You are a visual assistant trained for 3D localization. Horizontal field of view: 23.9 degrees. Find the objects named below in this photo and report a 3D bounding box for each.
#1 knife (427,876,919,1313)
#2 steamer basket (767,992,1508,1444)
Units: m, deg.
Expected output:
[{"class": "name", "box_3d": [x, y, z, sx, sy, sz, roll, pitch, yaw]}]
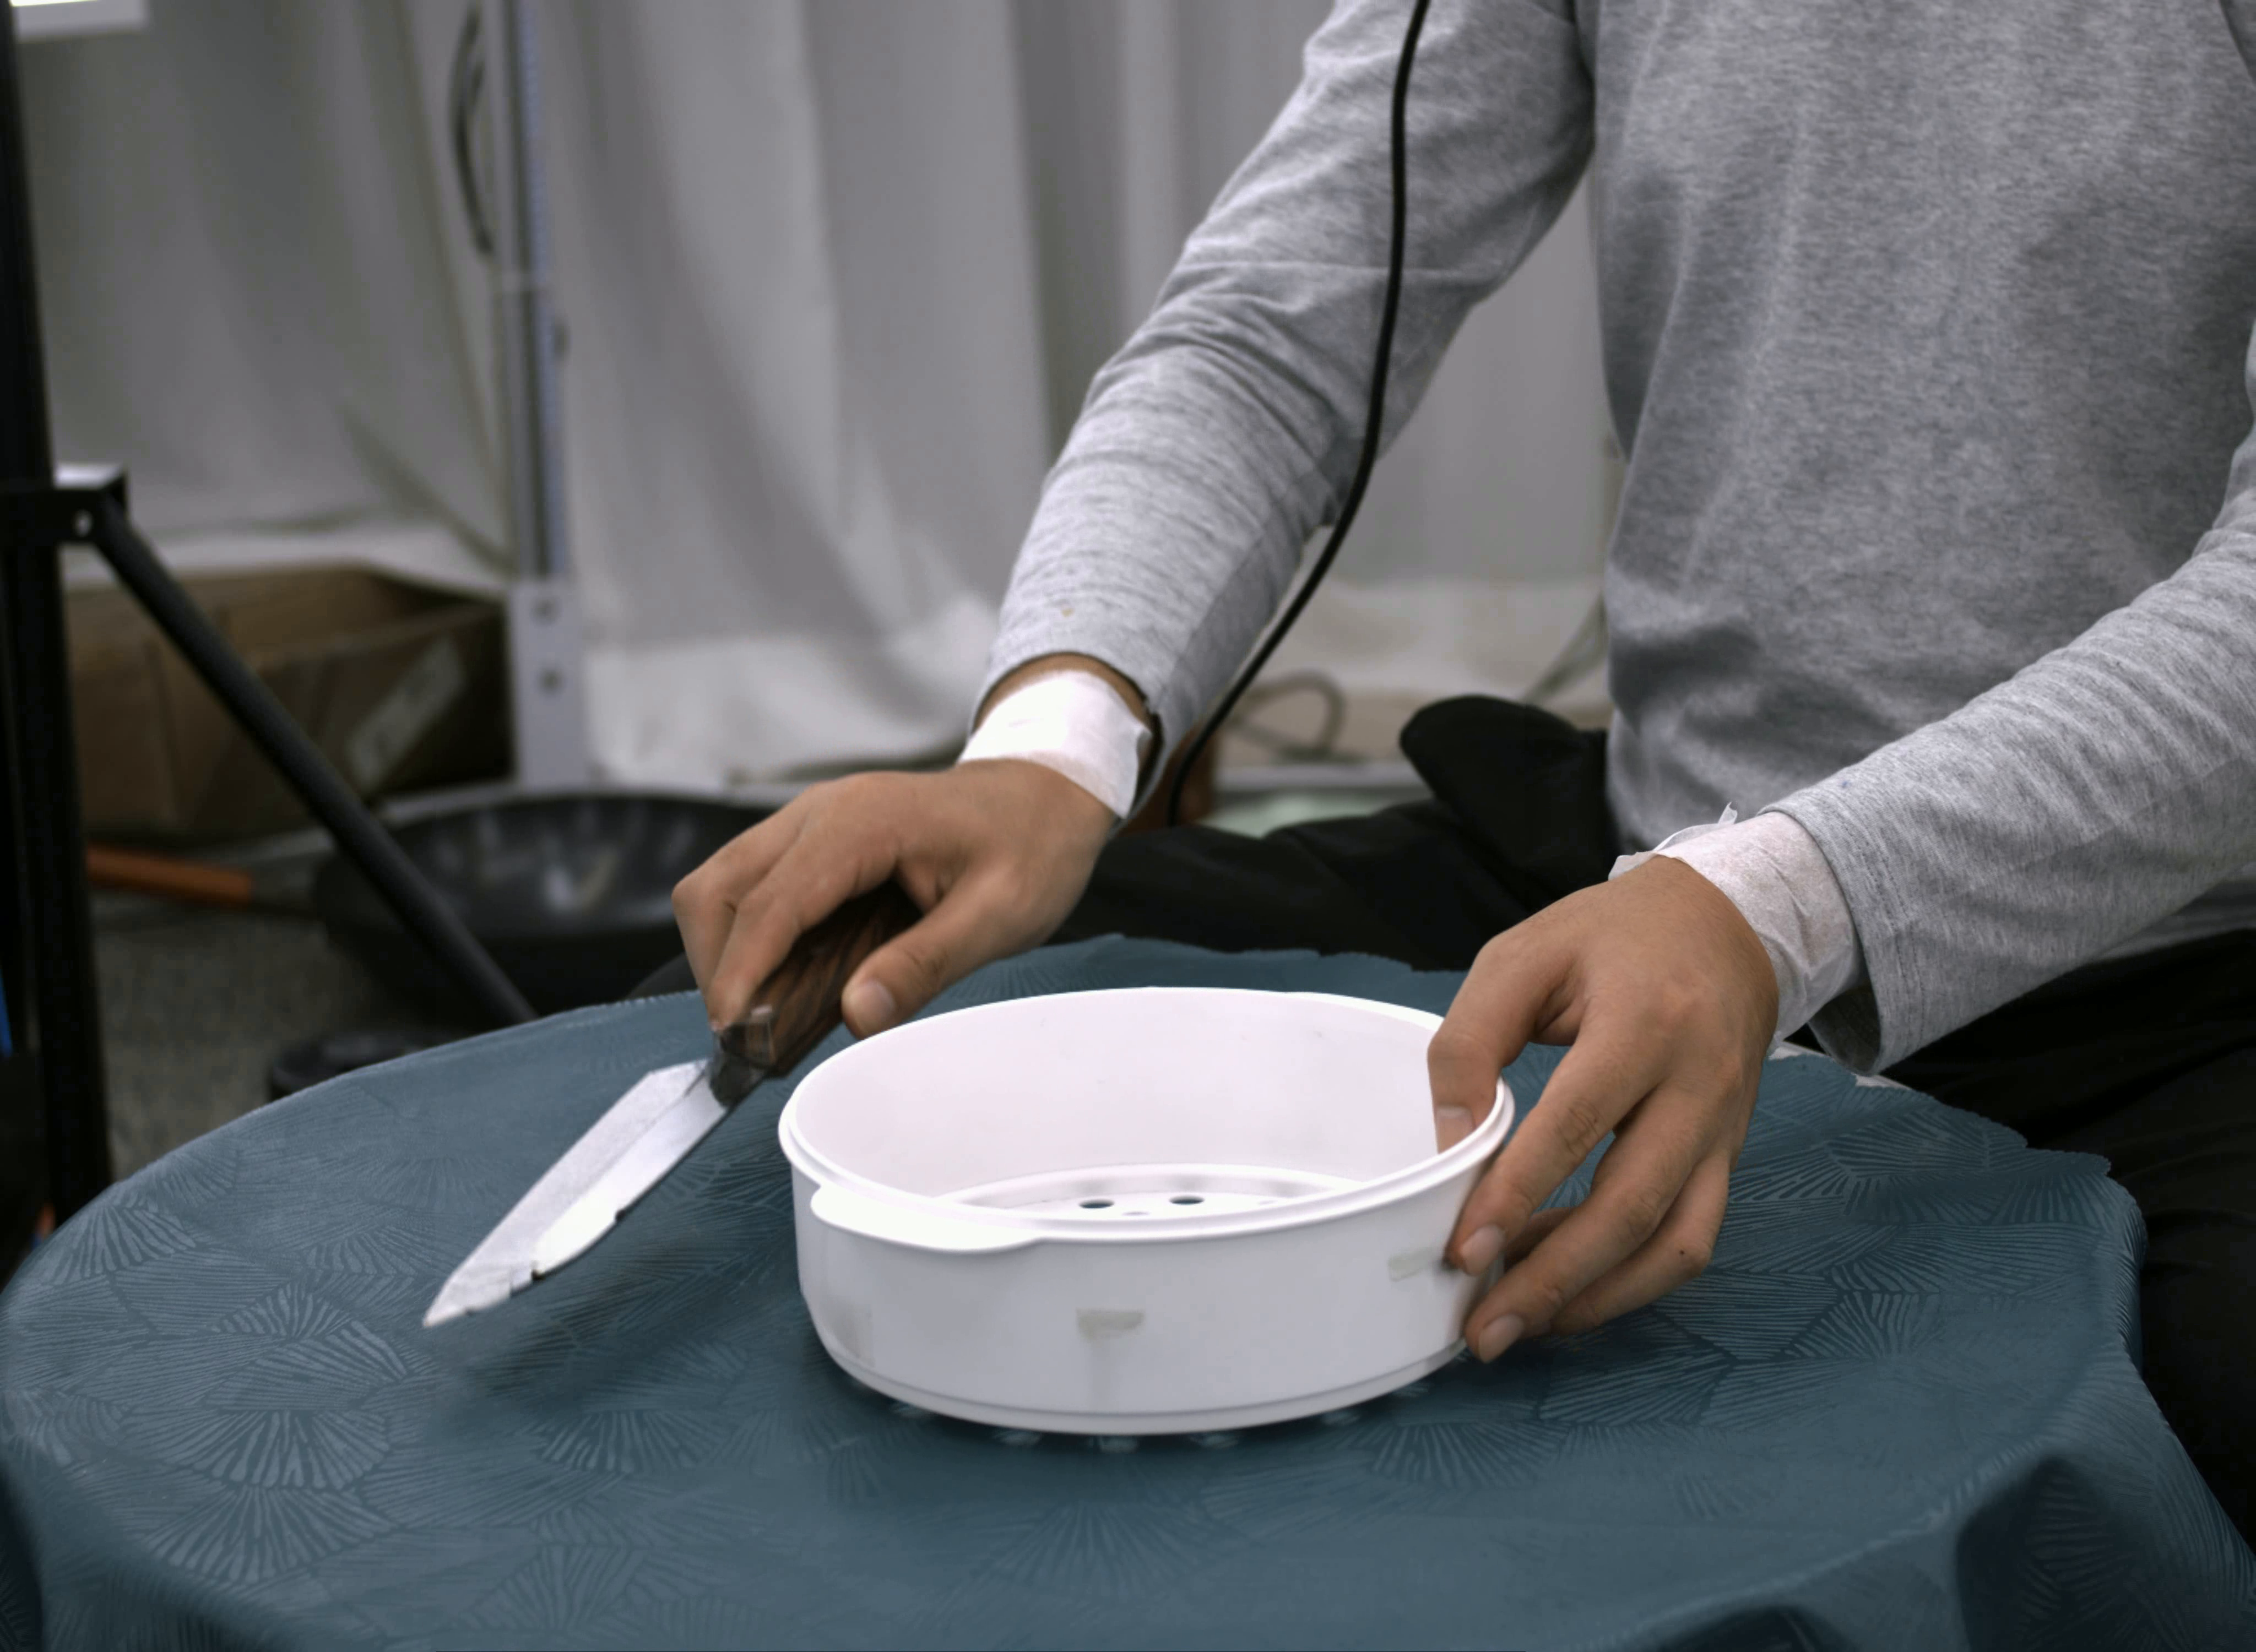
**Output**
[{"class": "knife", "box_3d": [-0.126, 0.076, 1.529, 0.051, 0.020, 0.286, -9, 18, 27]}, {"class": "steamer basket", "box_3d": [0.003, 0.106, 1.445, 0.206, 0.069, 0.225, 11, 20, 37]}]
